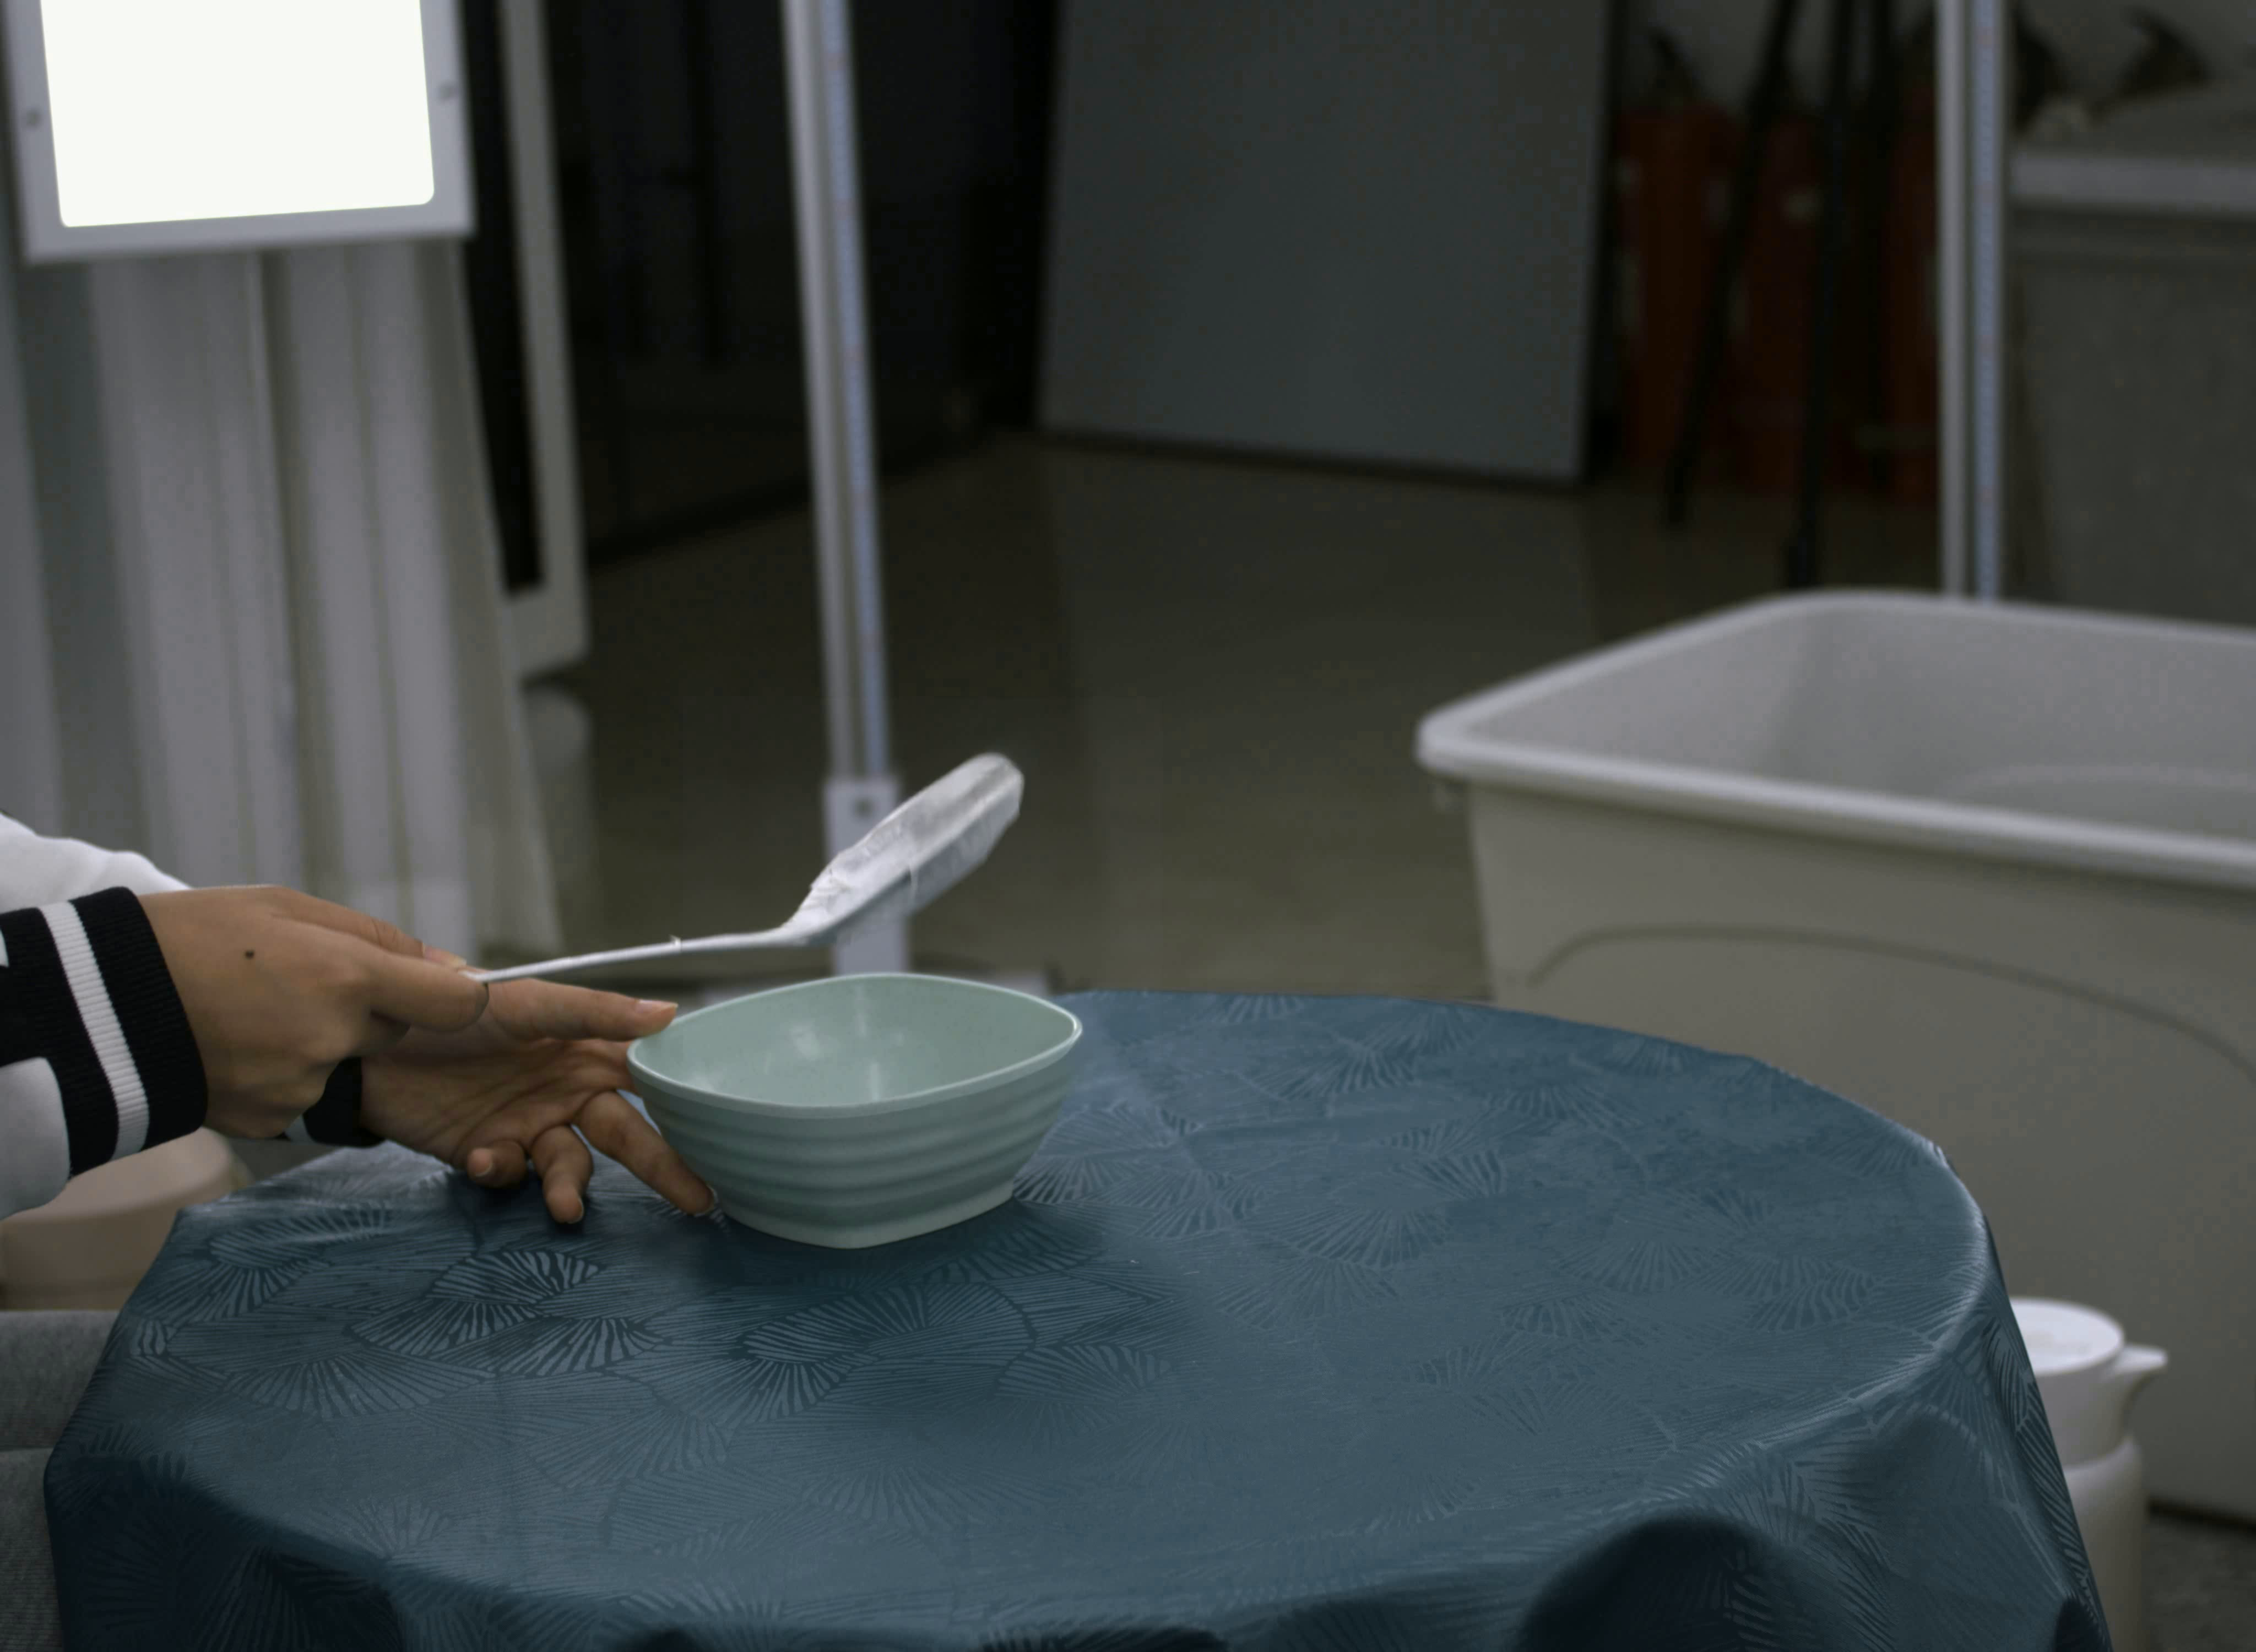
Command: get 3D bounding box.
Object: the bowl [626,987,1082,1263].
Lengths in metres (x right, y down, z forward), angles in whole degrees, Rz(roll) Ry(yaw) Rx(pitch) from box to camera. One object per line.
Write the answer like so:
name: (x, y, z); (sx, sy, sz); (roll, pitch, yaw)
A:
bowl: (-0.088, 0.101, 1.771); (0.149, 0.059, 0.151); (-4, 13, 0)

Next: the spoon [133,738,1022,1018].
spoon: (-0.165, 0.015, 1.642); (0.272, 0.060, 0.101); (-6, 2, -9)
